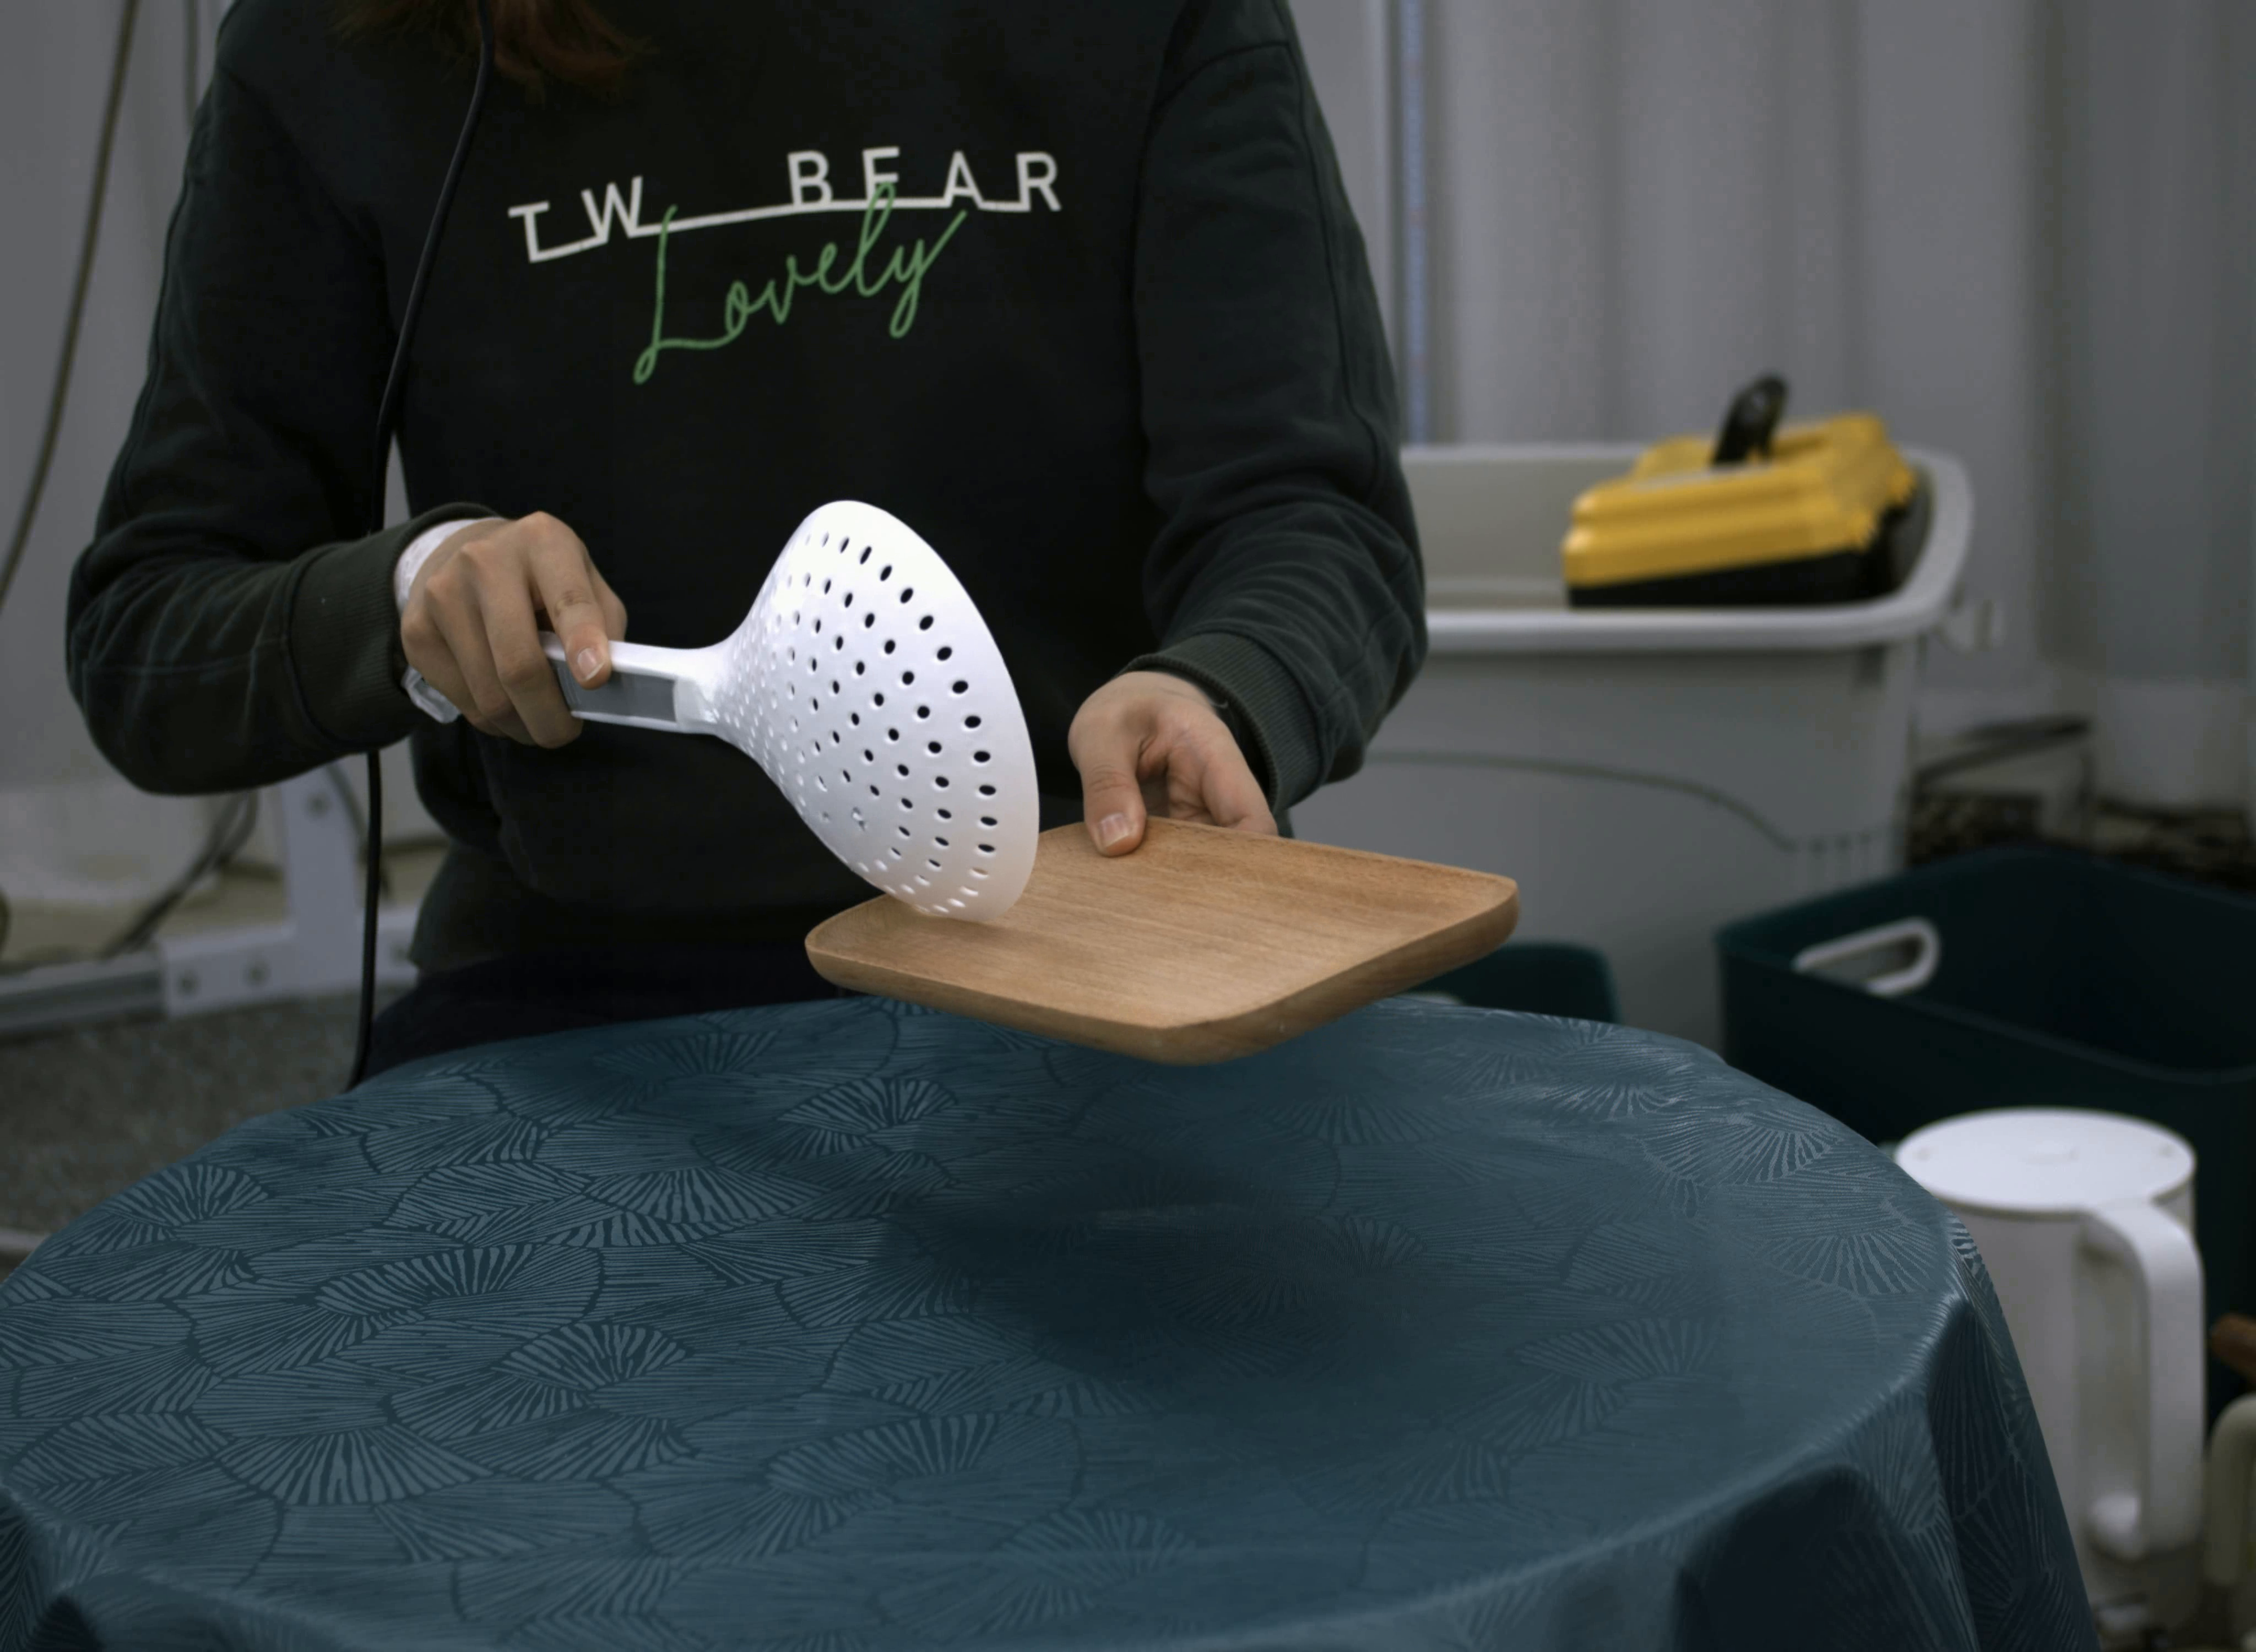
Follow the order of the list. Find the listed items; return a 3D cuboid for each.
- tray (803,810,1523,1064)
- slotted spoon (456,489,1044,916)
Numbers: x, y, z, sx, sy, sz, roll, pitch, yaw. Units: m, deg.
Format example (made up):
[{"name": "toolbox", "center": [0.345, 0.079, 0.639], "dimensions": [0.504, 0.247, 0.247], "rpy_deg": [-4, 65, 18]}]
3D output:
[{"name": "tray", "center": [0.007, 0.031, 1.620], "dimensions": [0.130, 0.023, 0.252], "rpy_deg": [-19, 14, -27]}, {"name": "slotted spoon", "center": [-0.131, -0.043, 1.758], "dimensions": [0.045, 0.135, 0.351], "rpy_deg": [-19, 14, -26]}]
